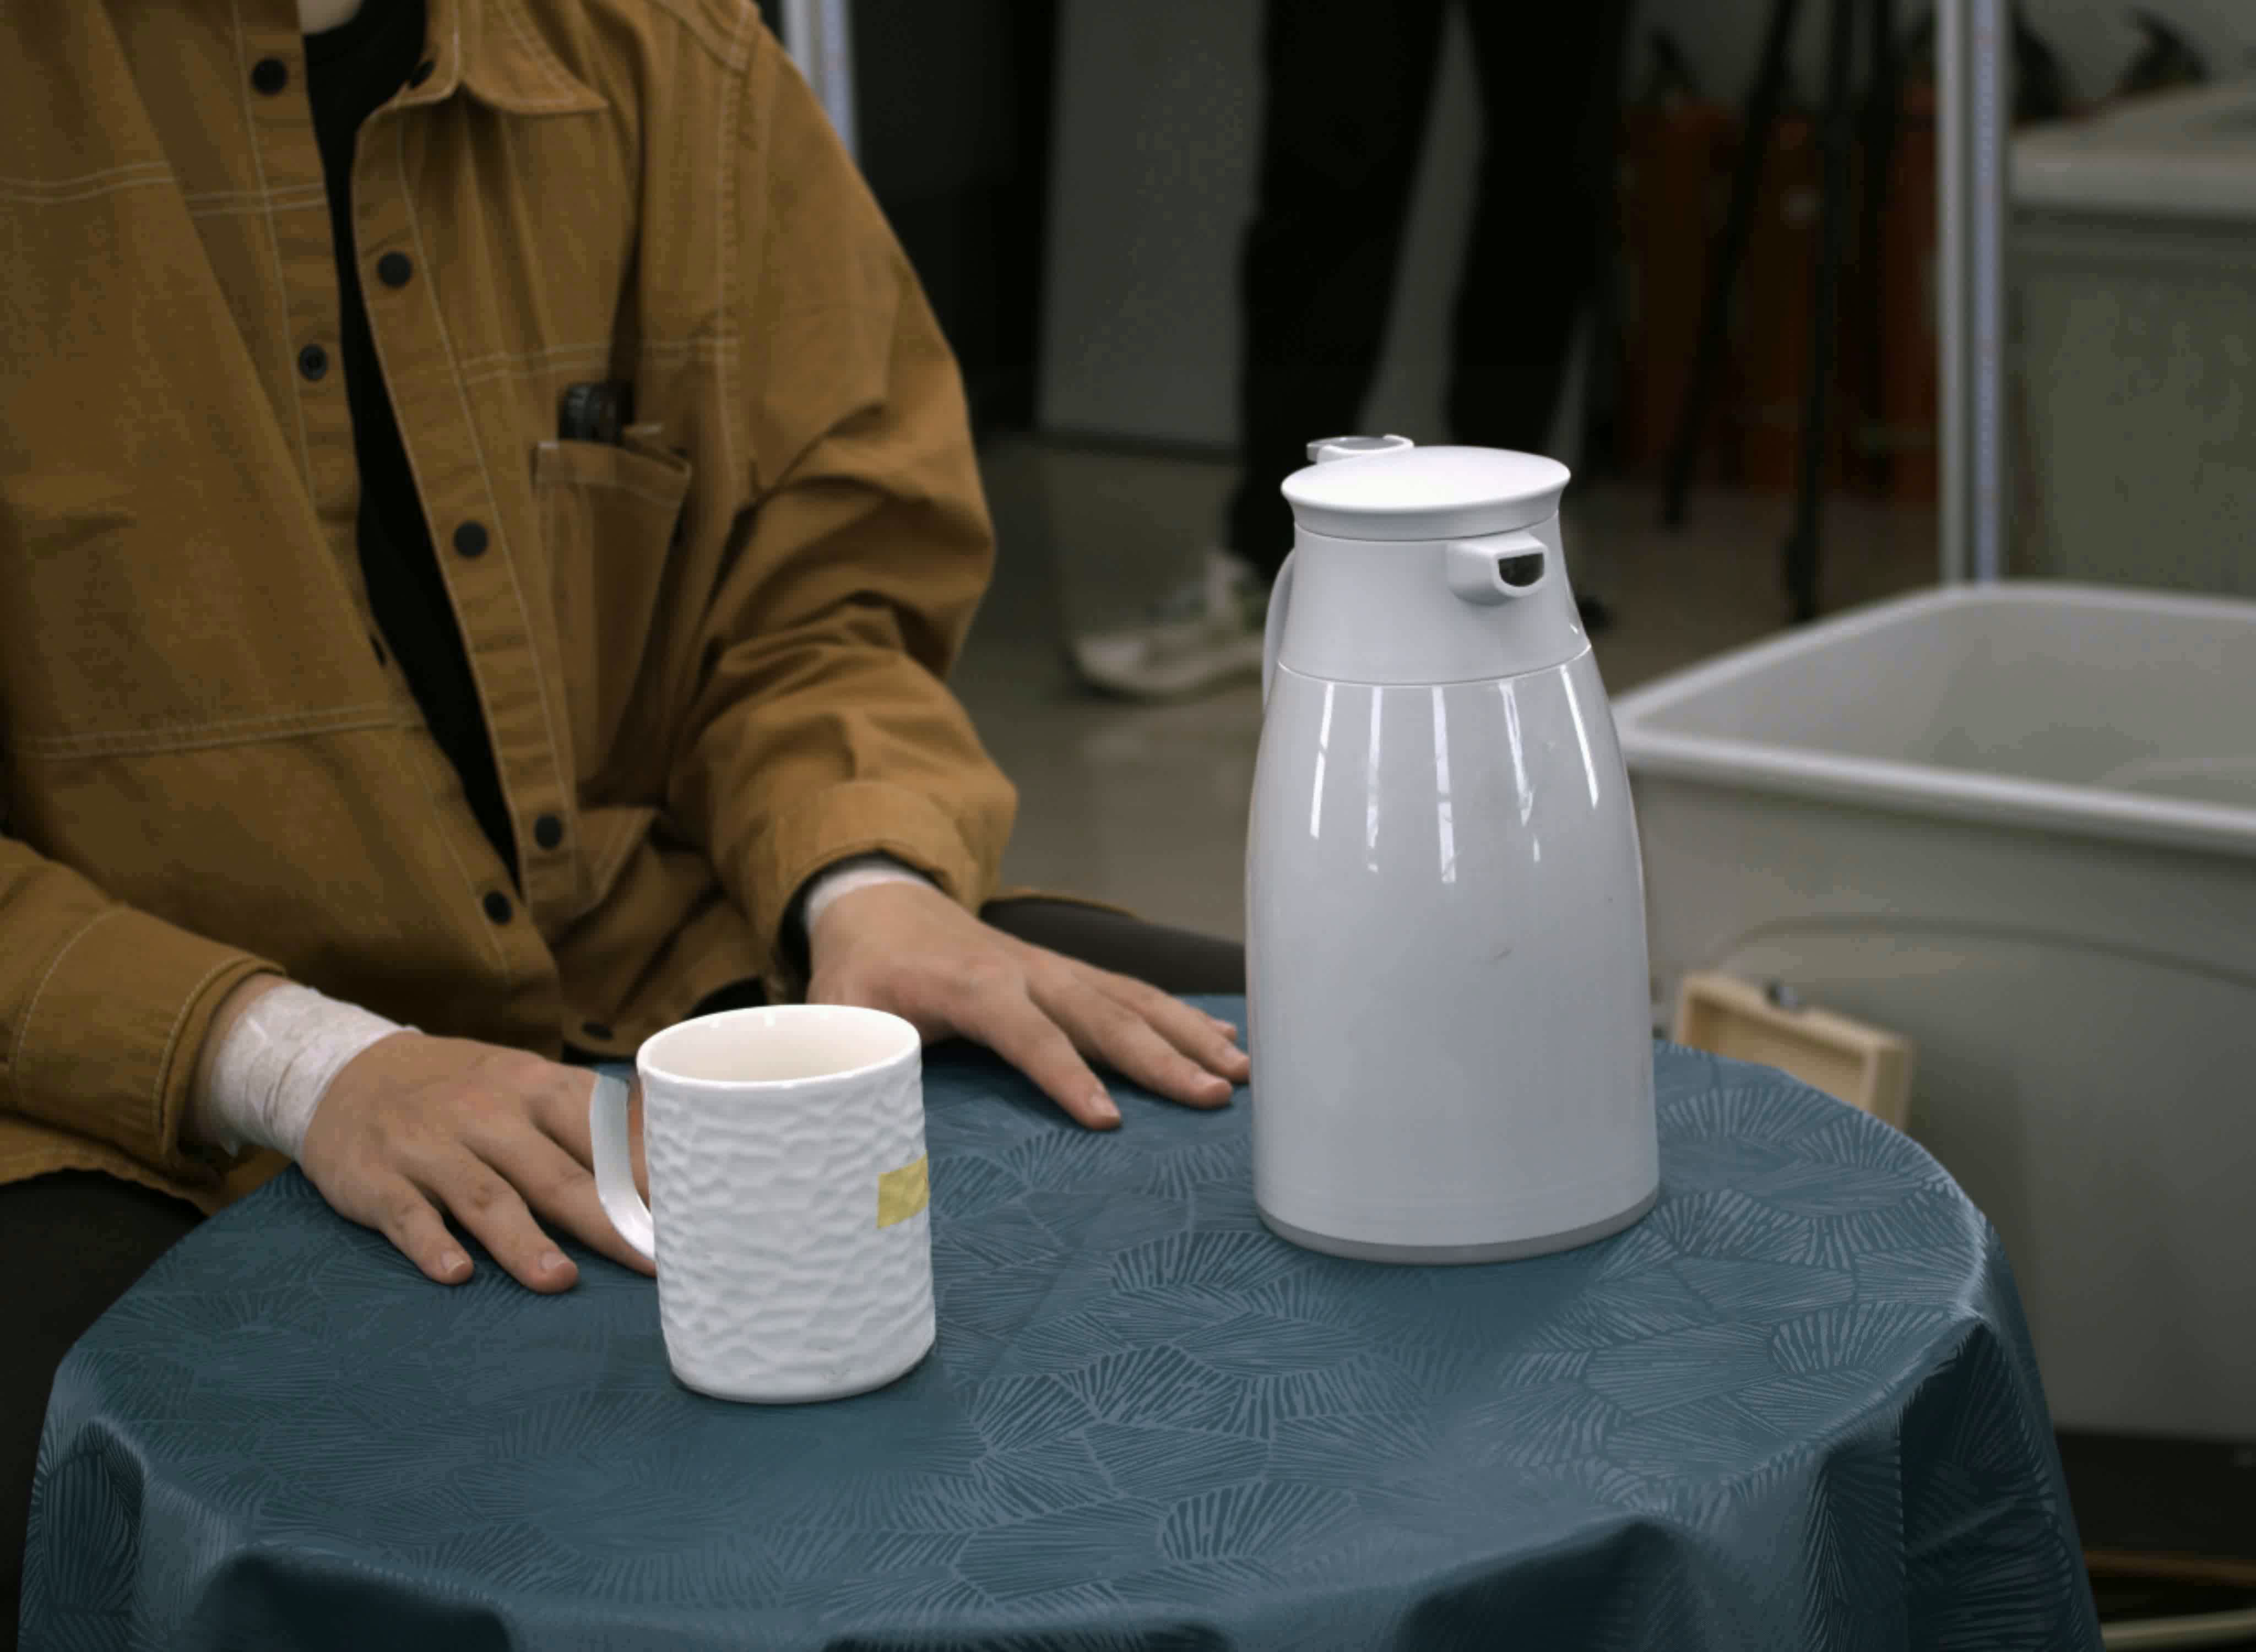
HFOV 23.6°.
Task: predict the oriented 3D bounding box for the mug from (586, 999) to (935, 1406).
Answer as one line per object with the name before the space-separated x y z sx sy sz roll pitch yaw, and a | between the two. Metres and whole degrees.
mug | -0.115 0.111 1.632 0.119 0.103 0.083 6 17 36

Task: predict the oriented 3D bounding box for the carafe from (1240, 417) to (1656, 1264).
carafe | 0.088 -0.004 1.729 0.130 0.251 0.169 -11 15 -24
